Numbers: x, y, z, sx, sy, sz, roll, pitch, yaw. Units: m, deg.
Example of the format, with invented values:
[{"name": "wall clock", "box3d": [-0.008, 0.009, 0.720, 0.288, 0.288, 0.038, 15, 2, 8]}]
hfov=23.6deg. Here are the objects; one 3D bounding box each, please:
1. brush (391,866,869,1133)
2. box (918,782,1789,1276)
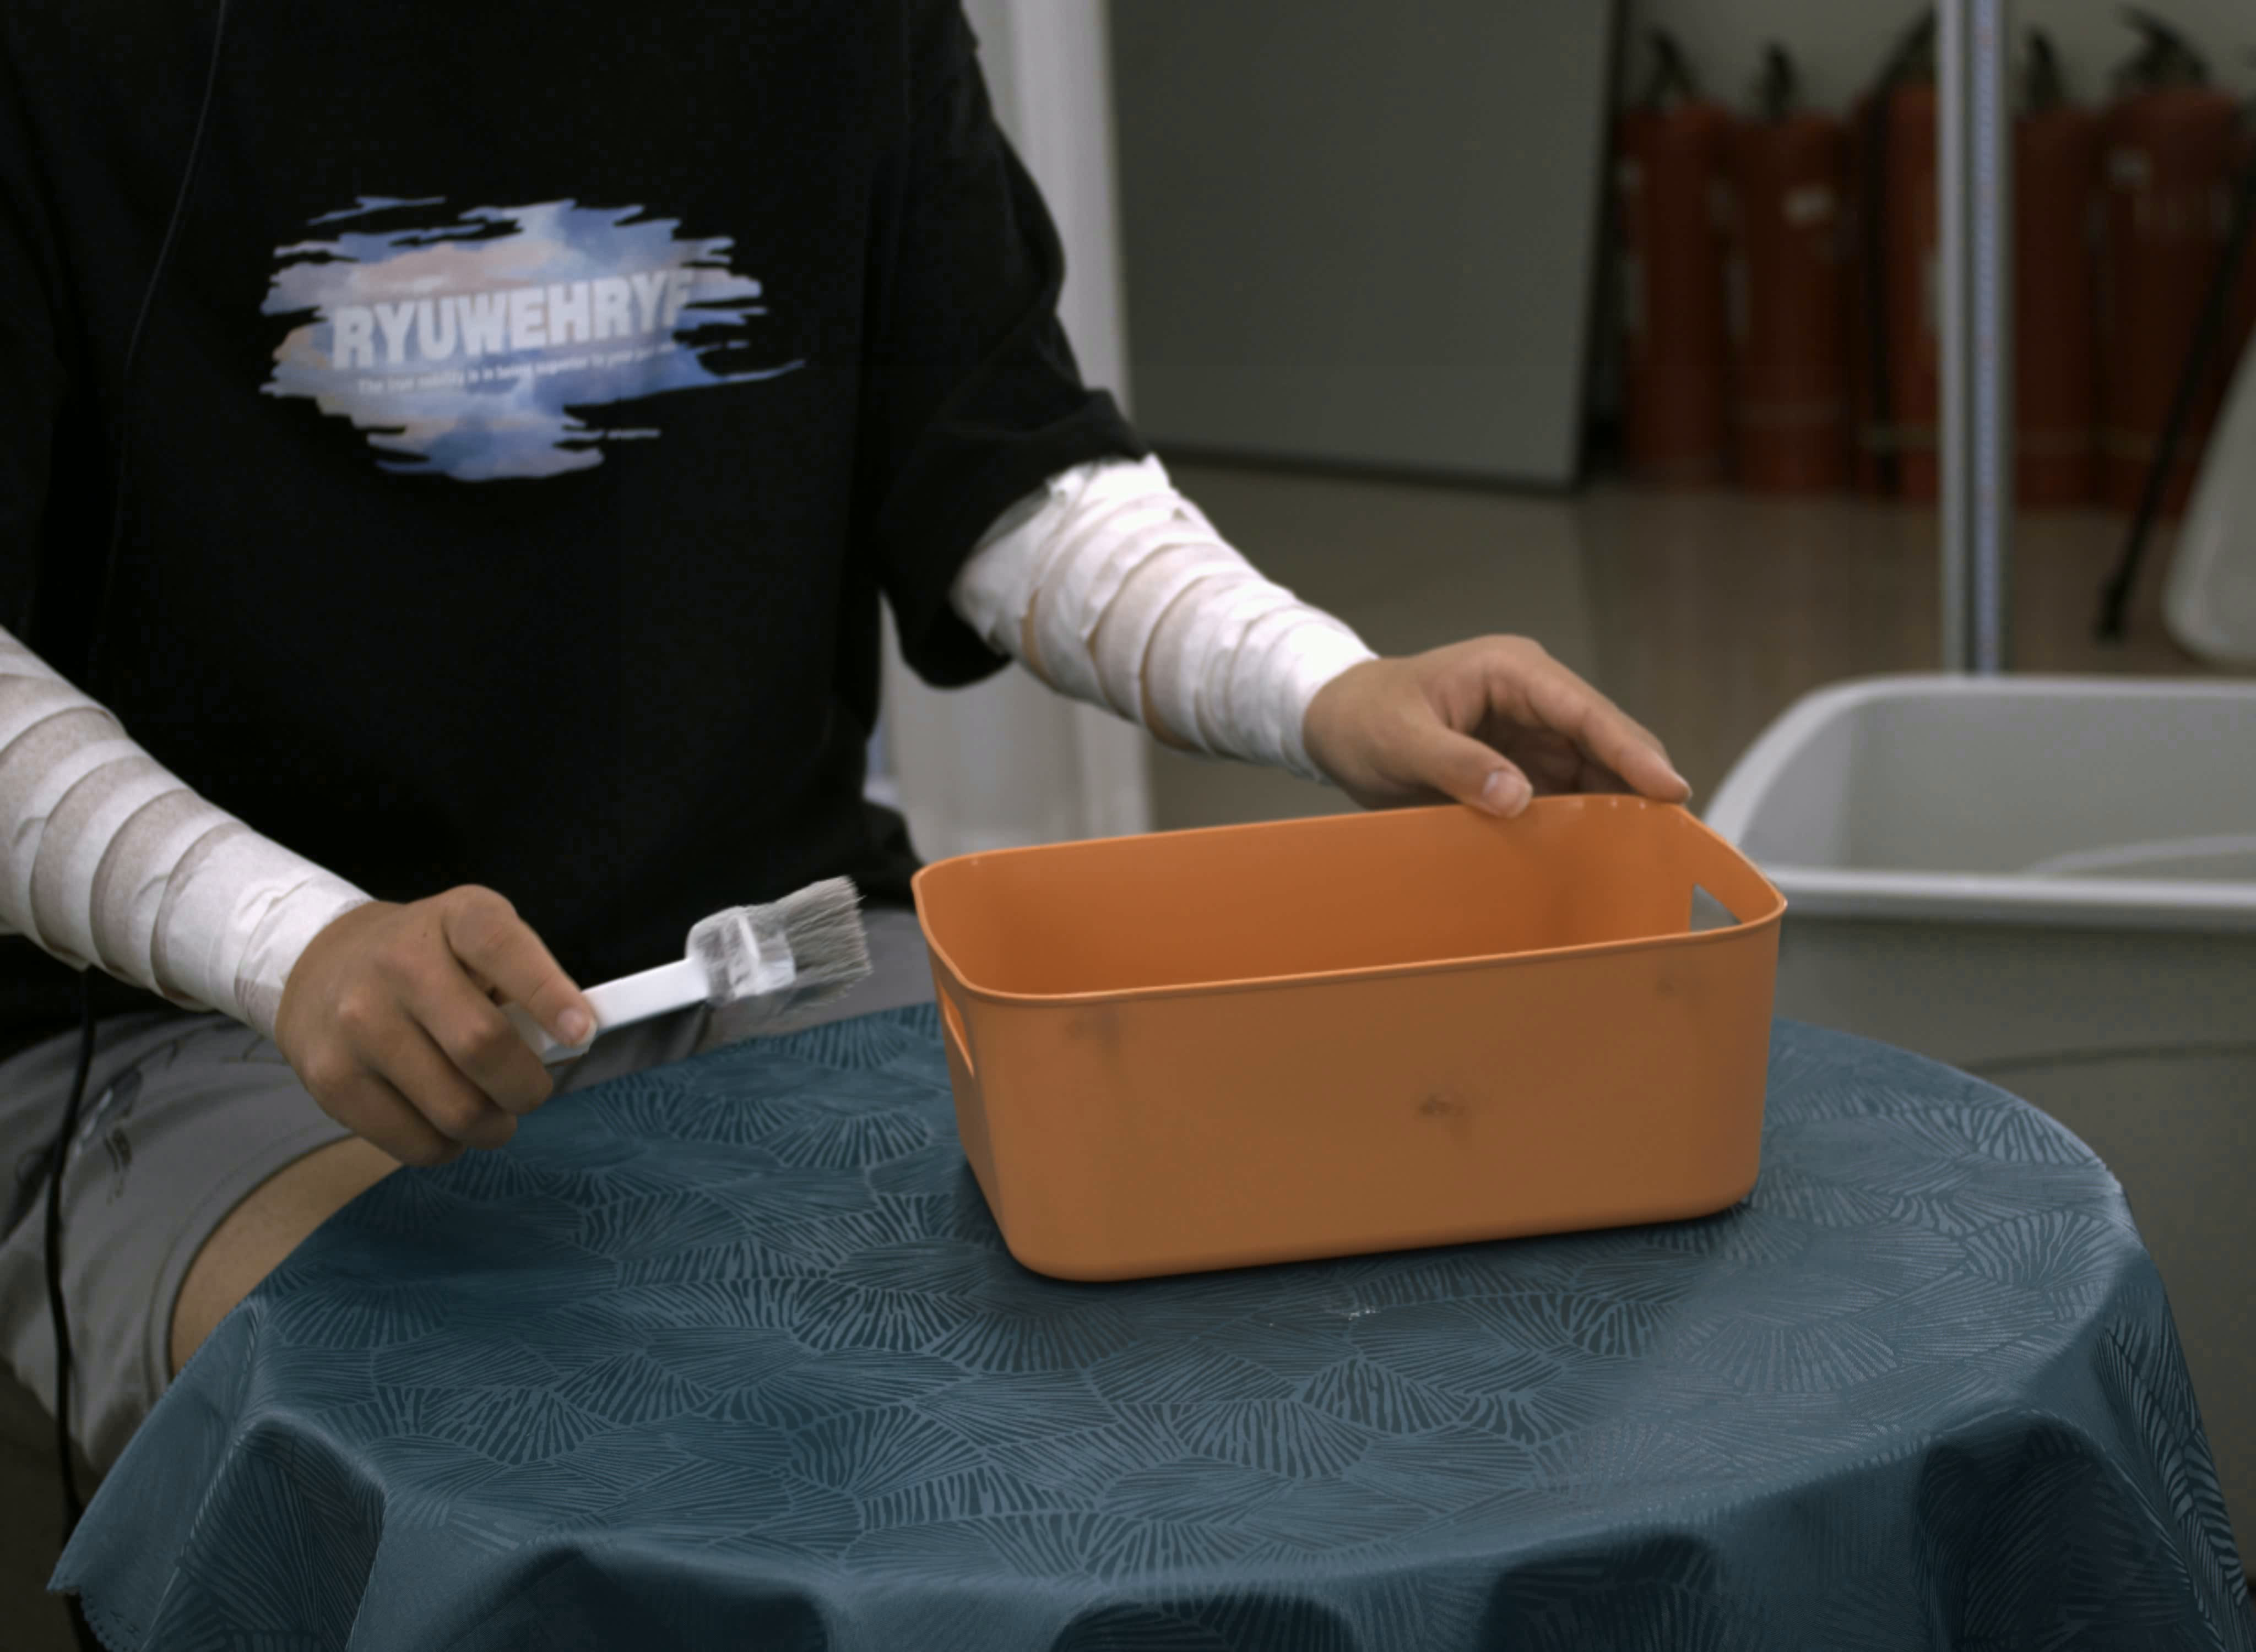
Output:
[{"name": "brush", "box3d": [-0.155, 0.058, 1.697, 0.049, 0.035, 0.246, -5, -12, -38]}, {"name": "box", "box3d": [0.071, 0.065, 1.756, 0.268, 0.104, 0.200, -5, 14, -7]}]
